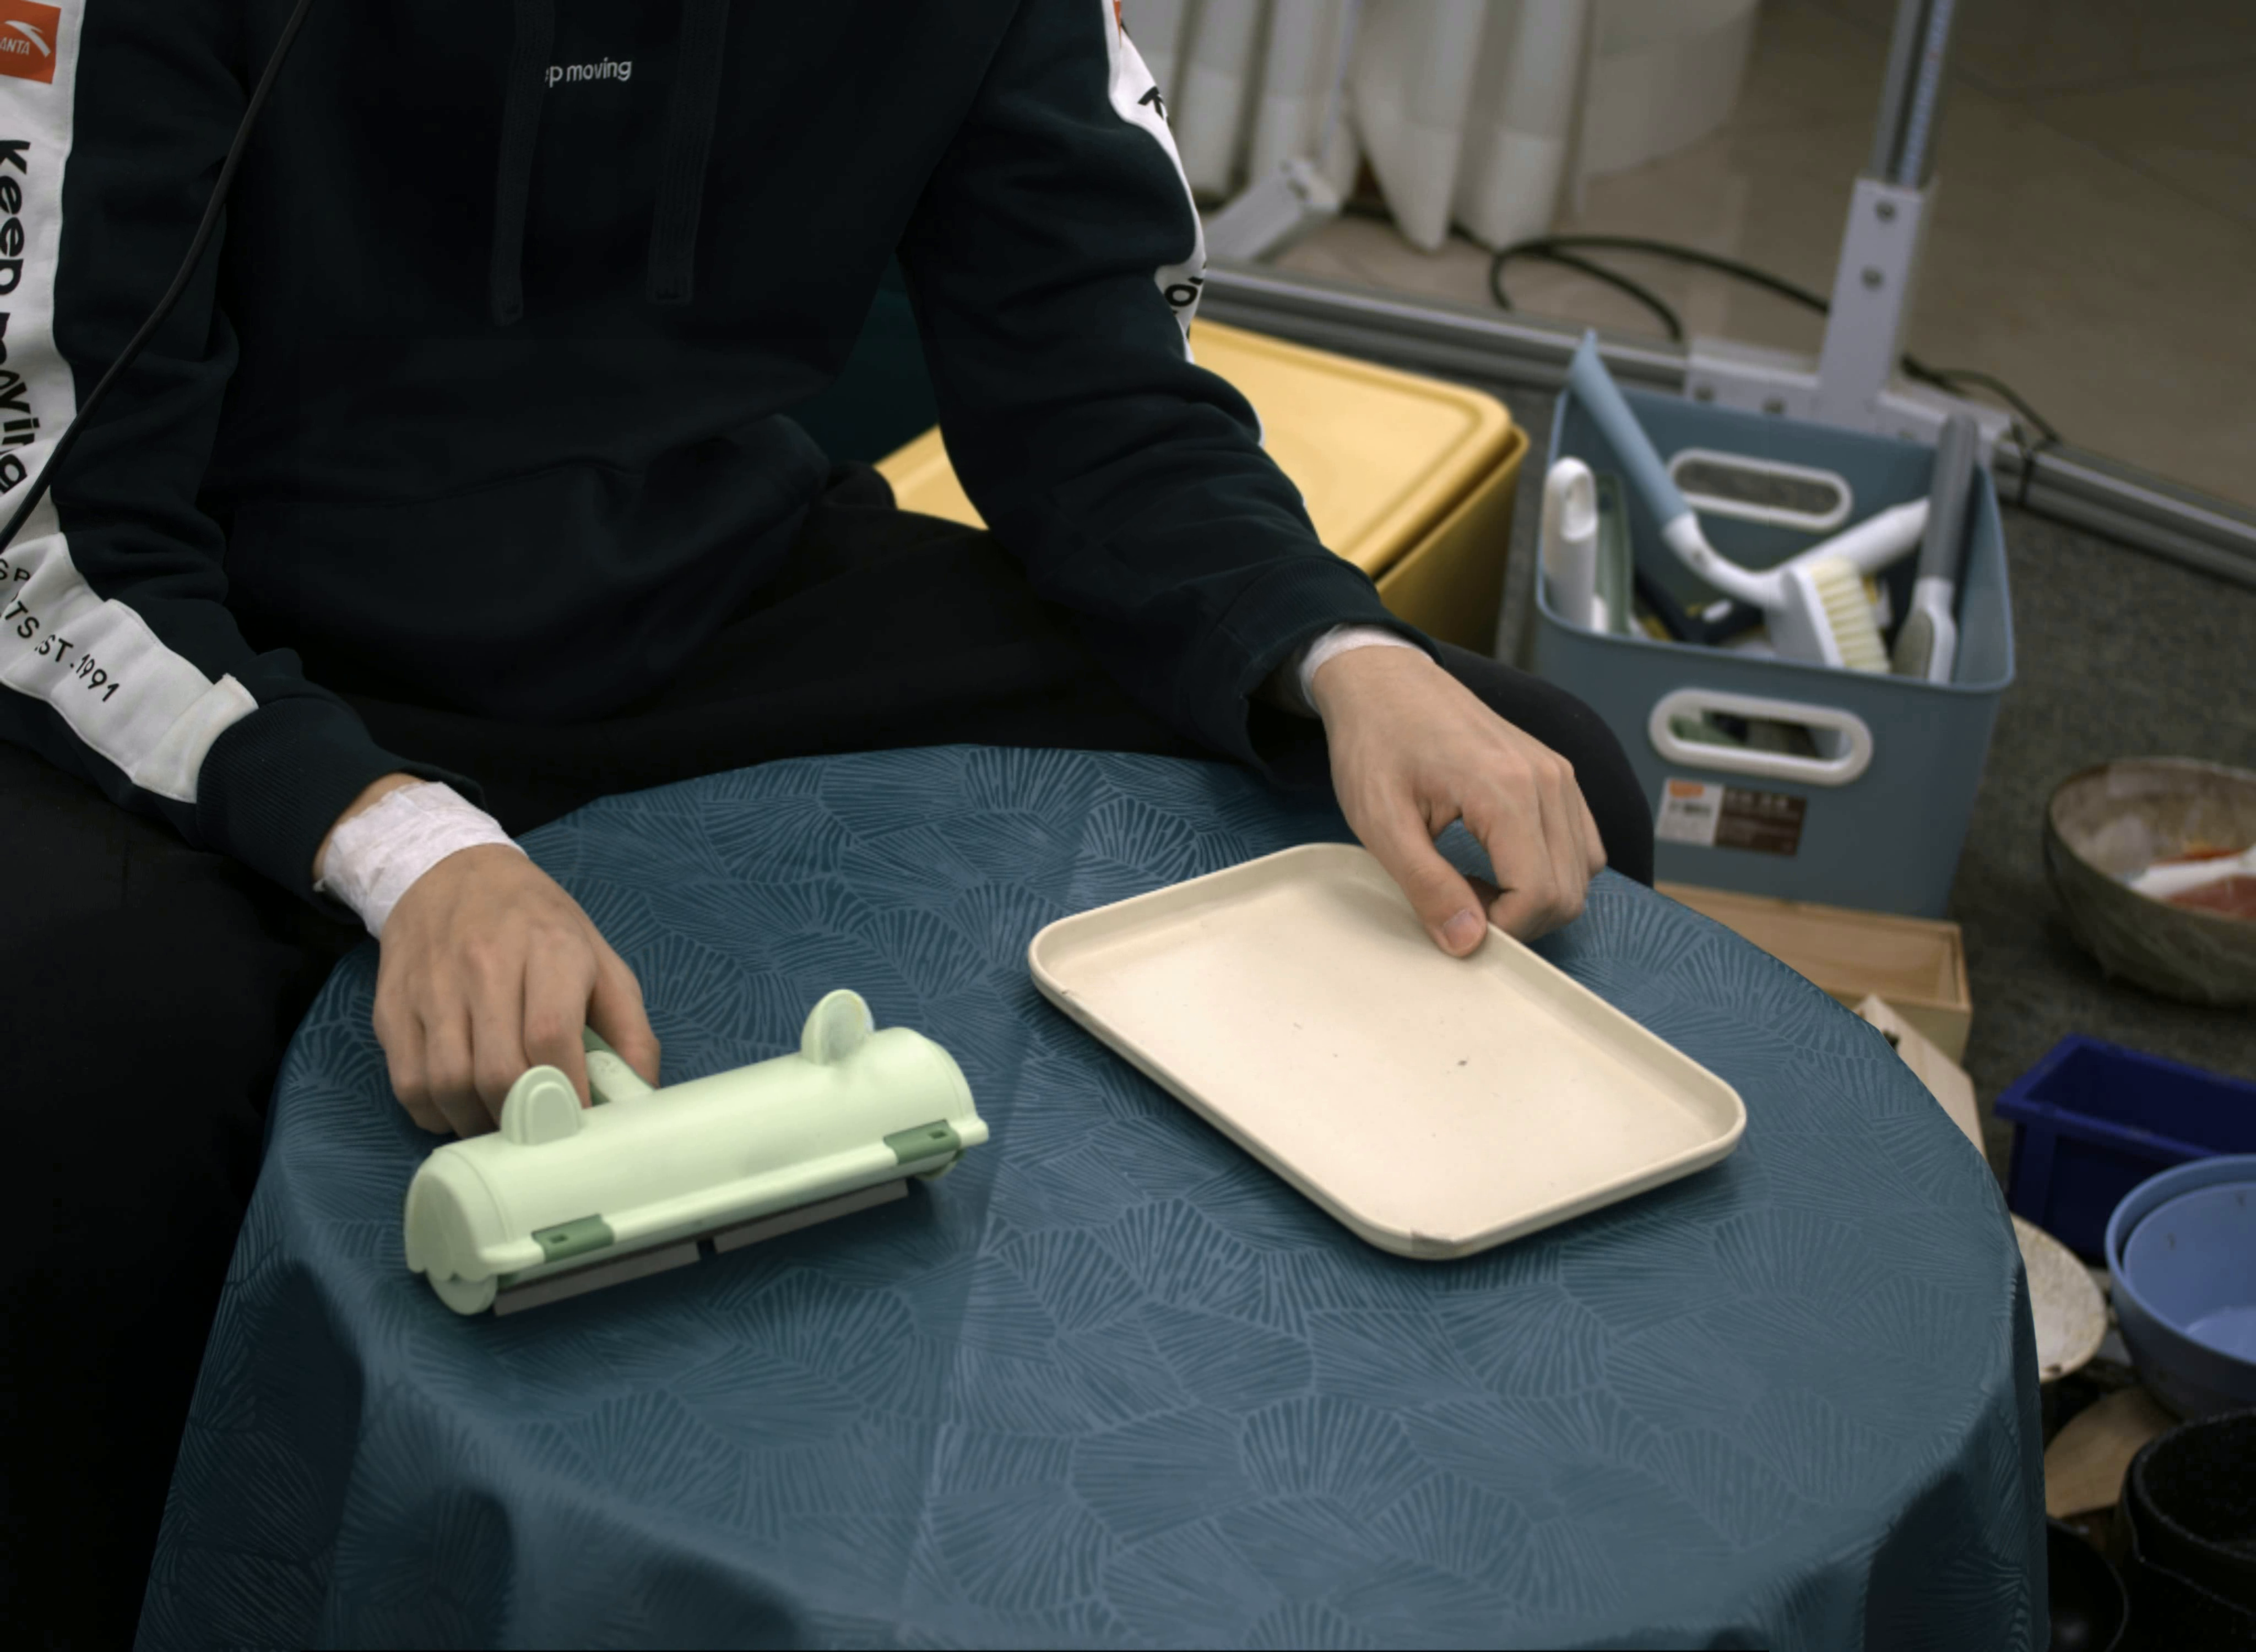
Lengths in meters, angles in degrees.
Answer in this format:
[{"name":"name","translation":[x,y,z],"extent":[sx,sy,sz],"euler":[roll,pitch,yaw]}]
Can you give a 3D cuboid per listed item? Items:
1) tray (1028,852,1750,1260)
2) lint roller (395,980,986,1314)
[{"name":"tray","translation":[0.090,0.080,1.882],"extent":[0.170,0.017,0.242],"euler":[-15,34,-35]},{"name":"lint roller","translation":[-0.173,0.078,1.764],"extent":[0.197,0.082,0.185],"euler":[-14,37,-34]}]
